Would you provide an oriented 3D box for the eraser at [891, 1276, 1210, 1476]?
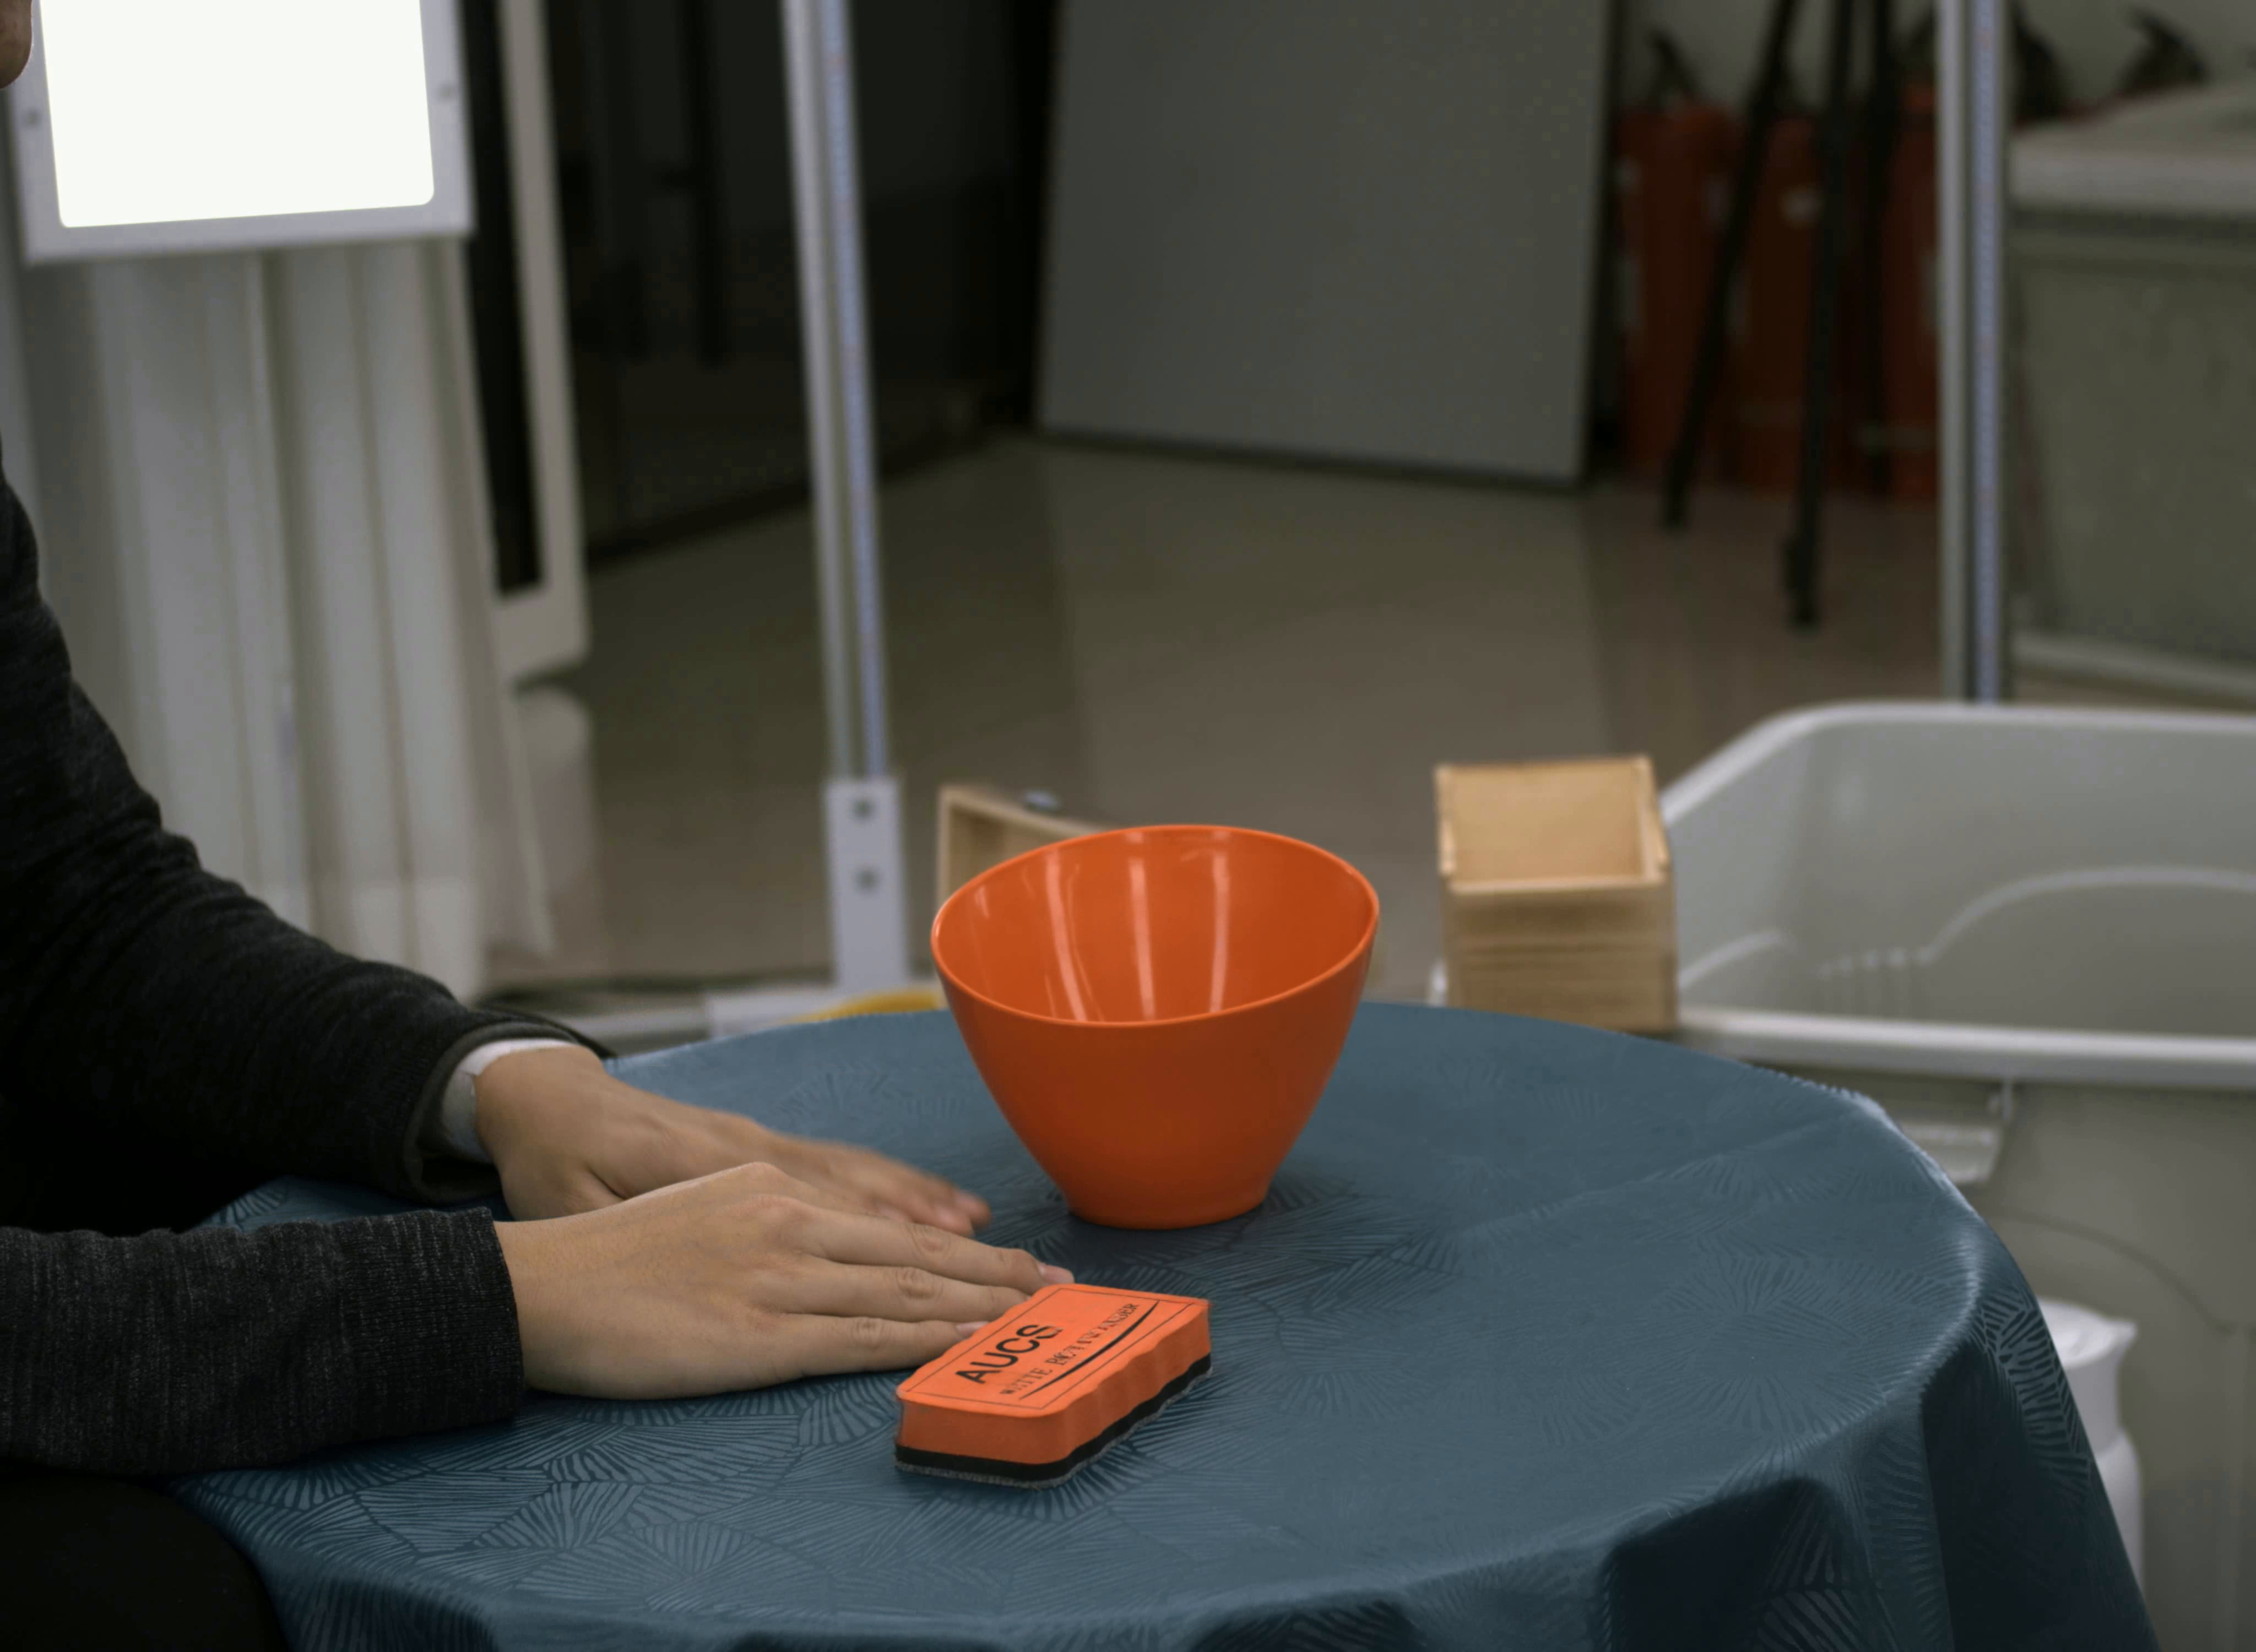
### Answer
[{"bbox_3d":[-0.021,0.158,1.562,0.059,0.023,0.106,5,15,27],"label":"eraser"}]

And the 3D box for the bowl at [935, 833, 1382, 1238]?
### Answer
[{"bbox_3d":[0.012,0.071,1.757,0.146,0.106,0.148,-3,14,0],"label":"bowl"}]
